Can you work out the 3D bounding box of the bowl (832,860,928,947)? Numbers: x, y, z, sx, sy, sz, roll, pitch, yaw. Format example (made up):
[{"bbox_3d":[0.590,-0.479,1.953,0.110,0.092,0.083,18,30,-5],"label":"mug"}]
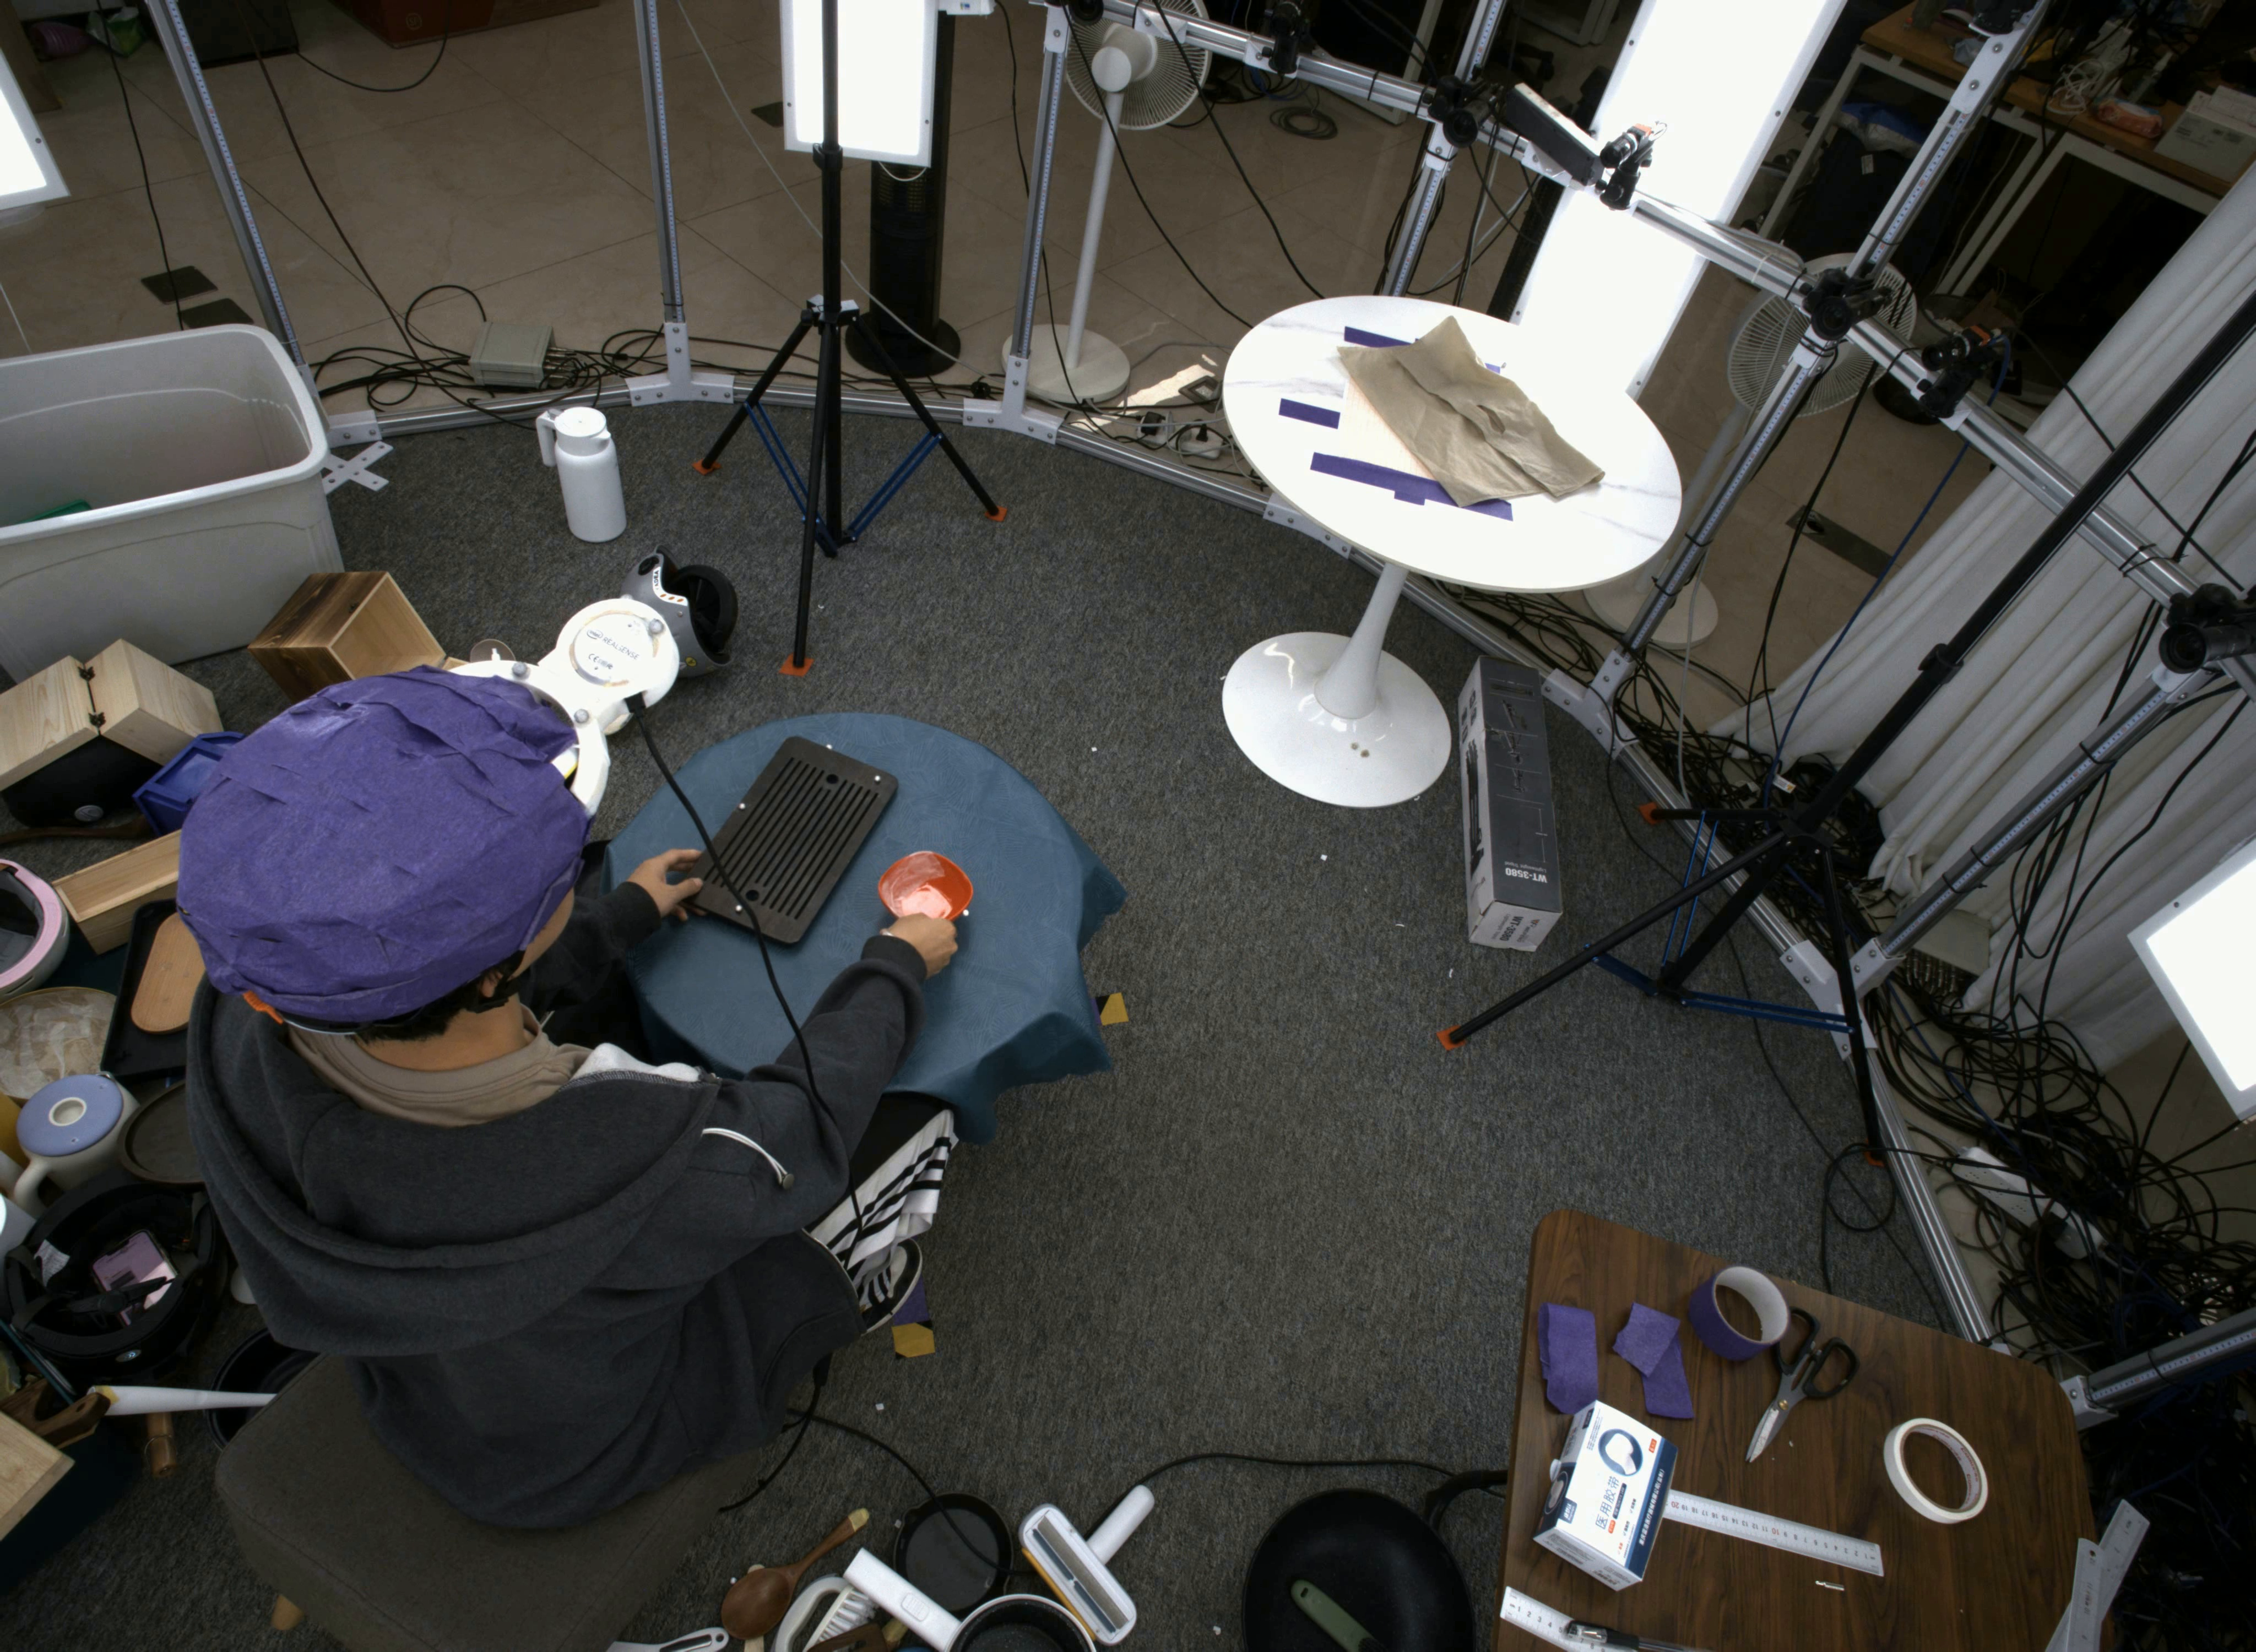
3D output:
[{"bbox_3d":[-0.313,0.105,1.637,0.119,0.052,0.117,9,51,-9],"label":"bowl"}]

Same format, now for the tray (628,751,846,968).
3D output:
[{"bbox_3d":[-0.499,0.037,1.666,0.169,0.019,0.303,21,51,-1],"label":"tray"}]
